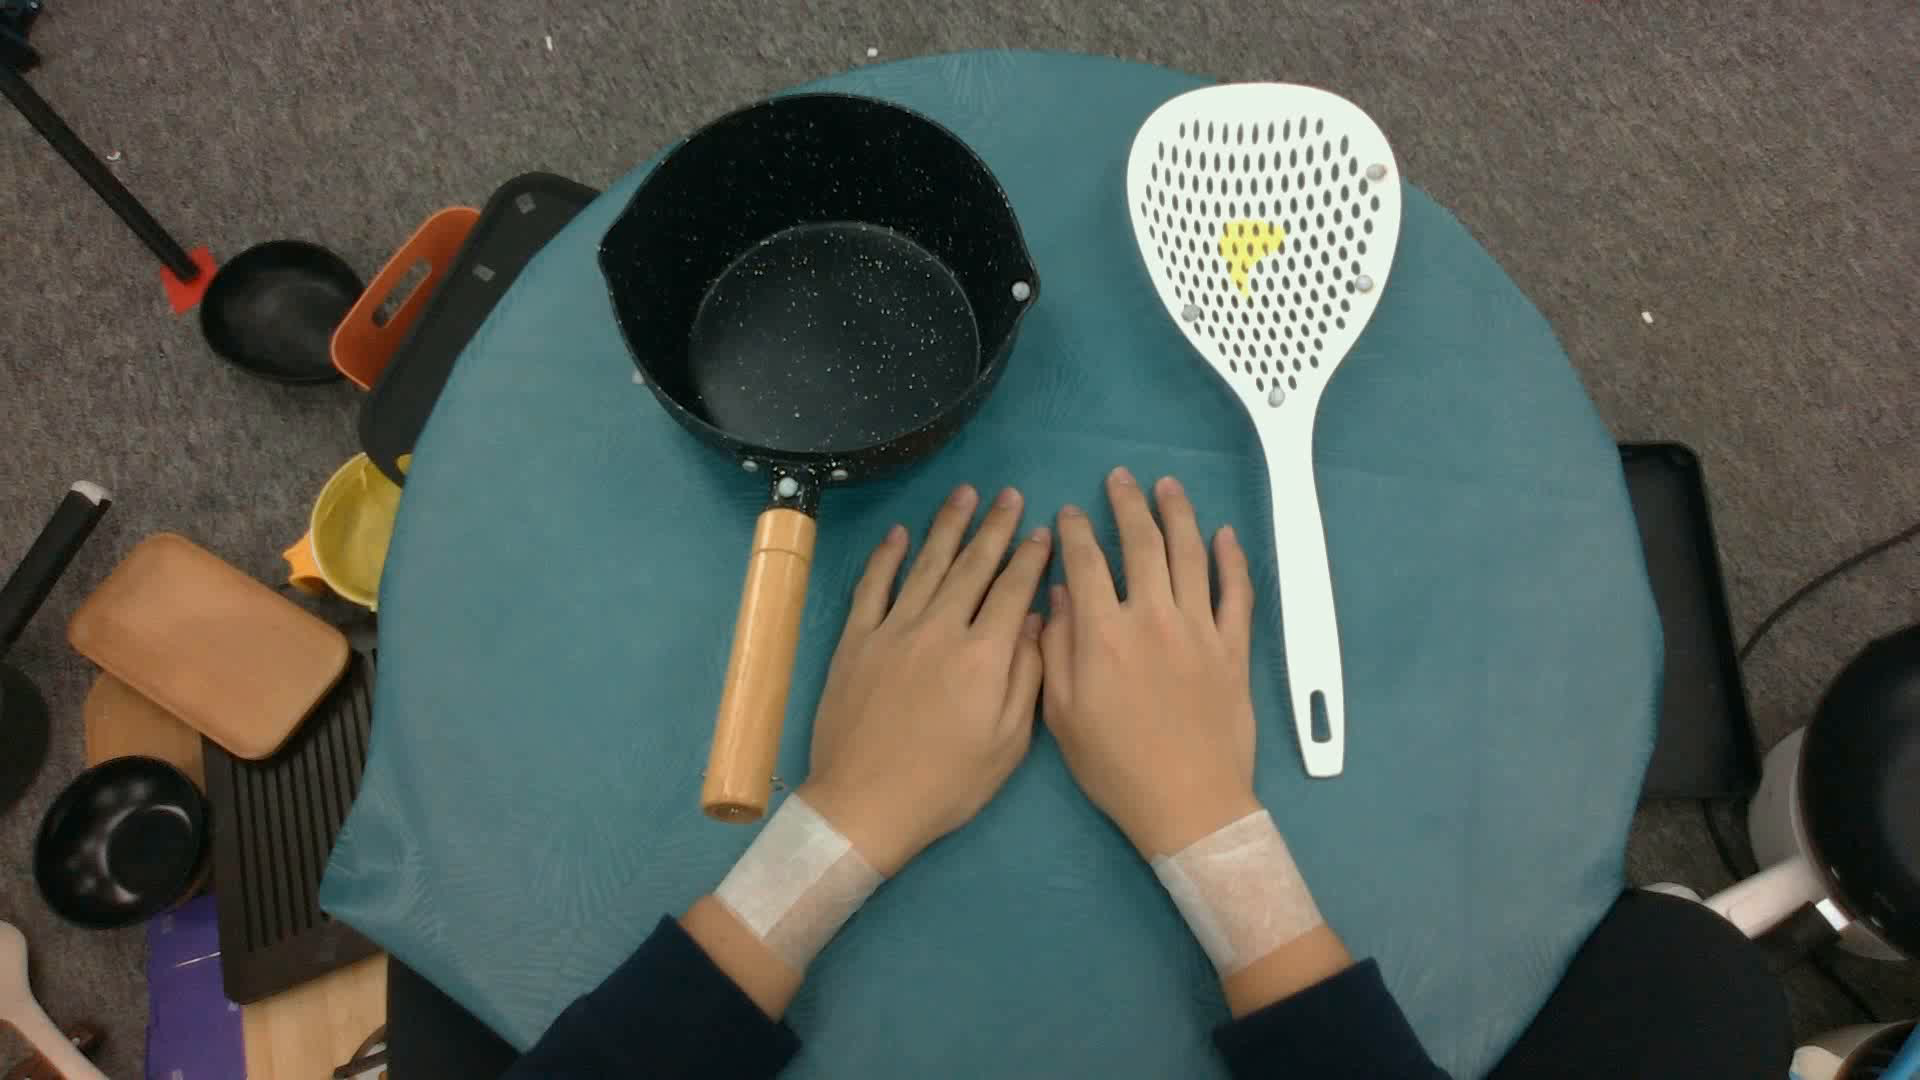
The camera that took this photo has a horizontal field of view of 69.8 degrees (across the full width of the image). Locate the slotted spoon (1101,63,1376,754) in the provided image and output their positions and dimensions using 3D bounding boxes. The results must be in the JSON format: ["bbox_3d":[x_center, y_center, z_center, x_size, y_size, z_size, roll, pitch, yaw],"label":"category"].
[{"bbox_3d":[0.146,-0.073,0.662,0.137,0.050,0.349,-3,69,-3],"label":"slotted spoon"}]

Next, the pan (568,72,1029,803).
[{"bbox_3d":[-0.077,-0.047,0.616,0.207,0.108,0.344,4,69,-1],"label":"pan"}]
